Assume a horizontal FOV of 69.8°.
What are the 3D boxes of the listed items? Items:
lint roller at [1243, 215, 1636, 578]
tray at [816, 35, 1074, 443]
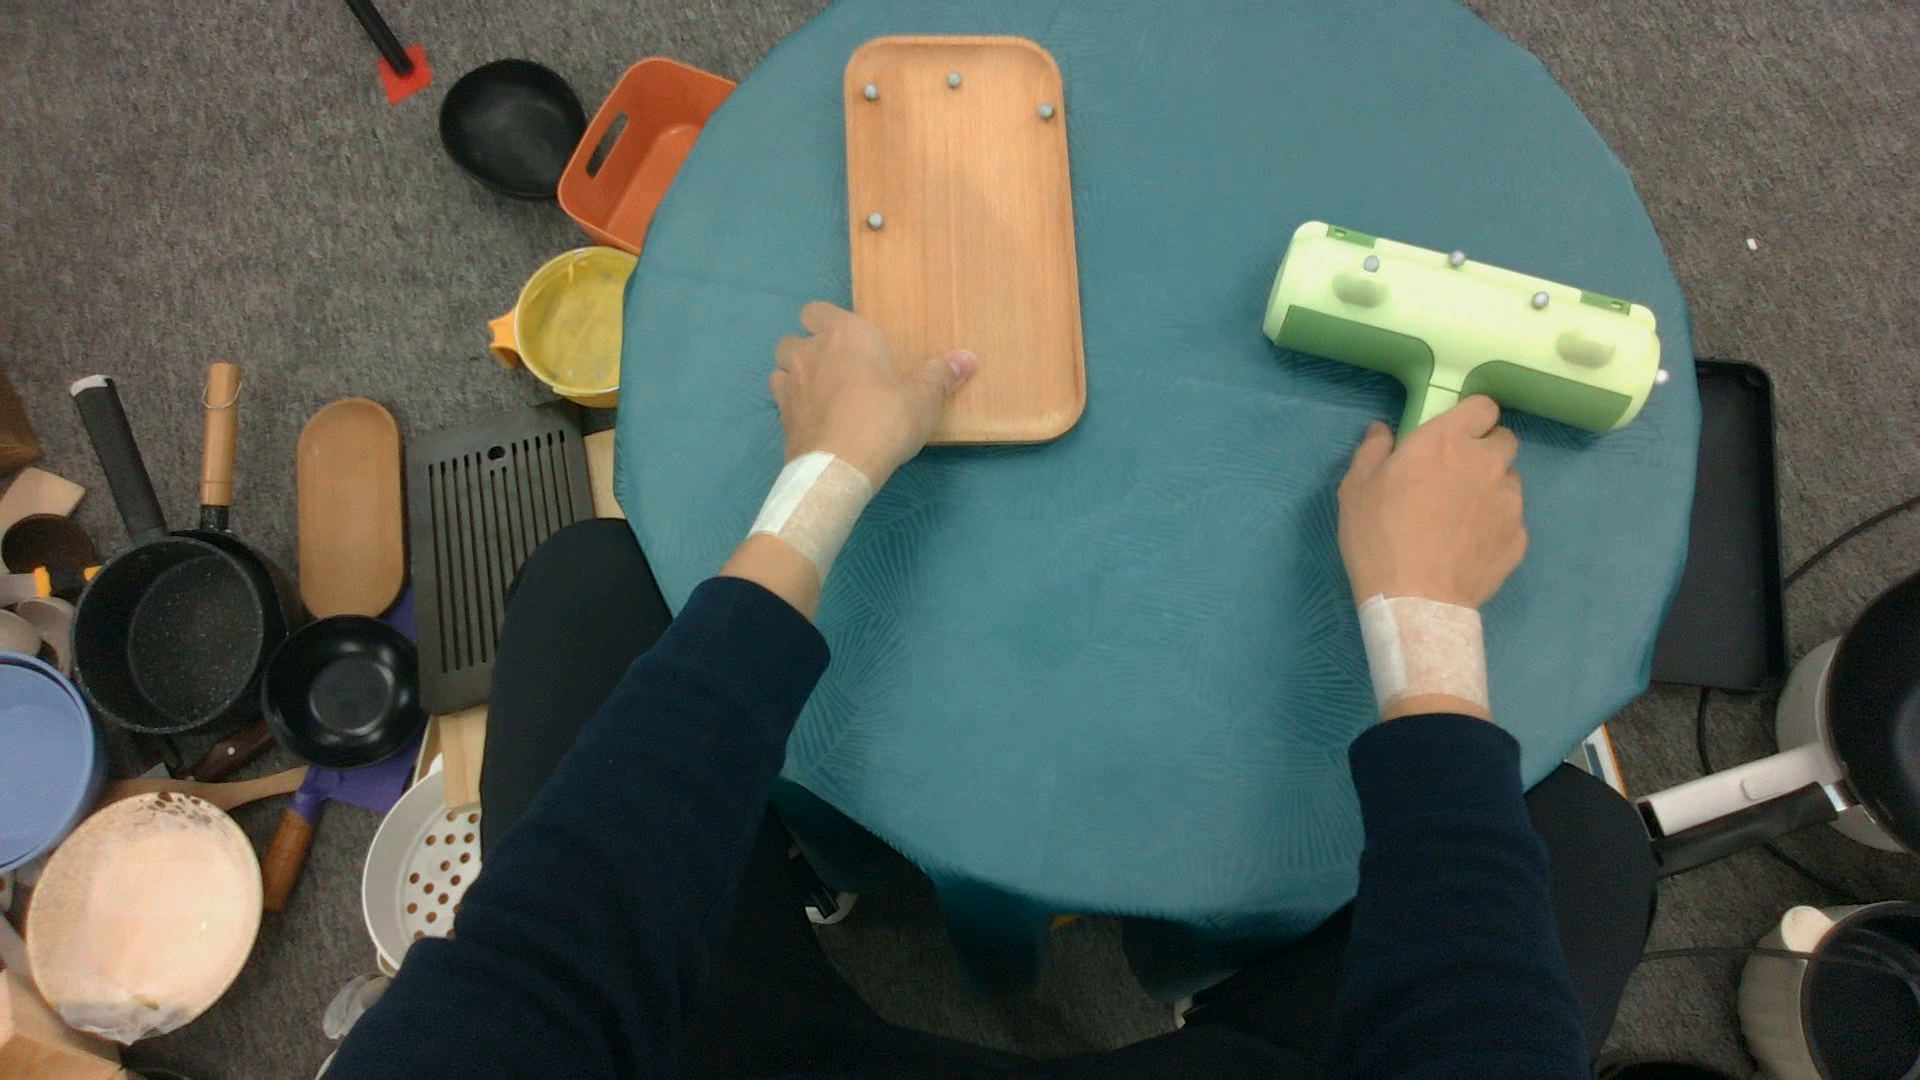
[{"bbox_3d":[0.241,-0.075,0.712,0.198,0.082,0.184,13,68,6],"label":"lint roller"},{"bbox_3d":[-0.011,-0.173,0.775,0.130,0.023,0.251,-3,75,-6],"label":"tray"}]
